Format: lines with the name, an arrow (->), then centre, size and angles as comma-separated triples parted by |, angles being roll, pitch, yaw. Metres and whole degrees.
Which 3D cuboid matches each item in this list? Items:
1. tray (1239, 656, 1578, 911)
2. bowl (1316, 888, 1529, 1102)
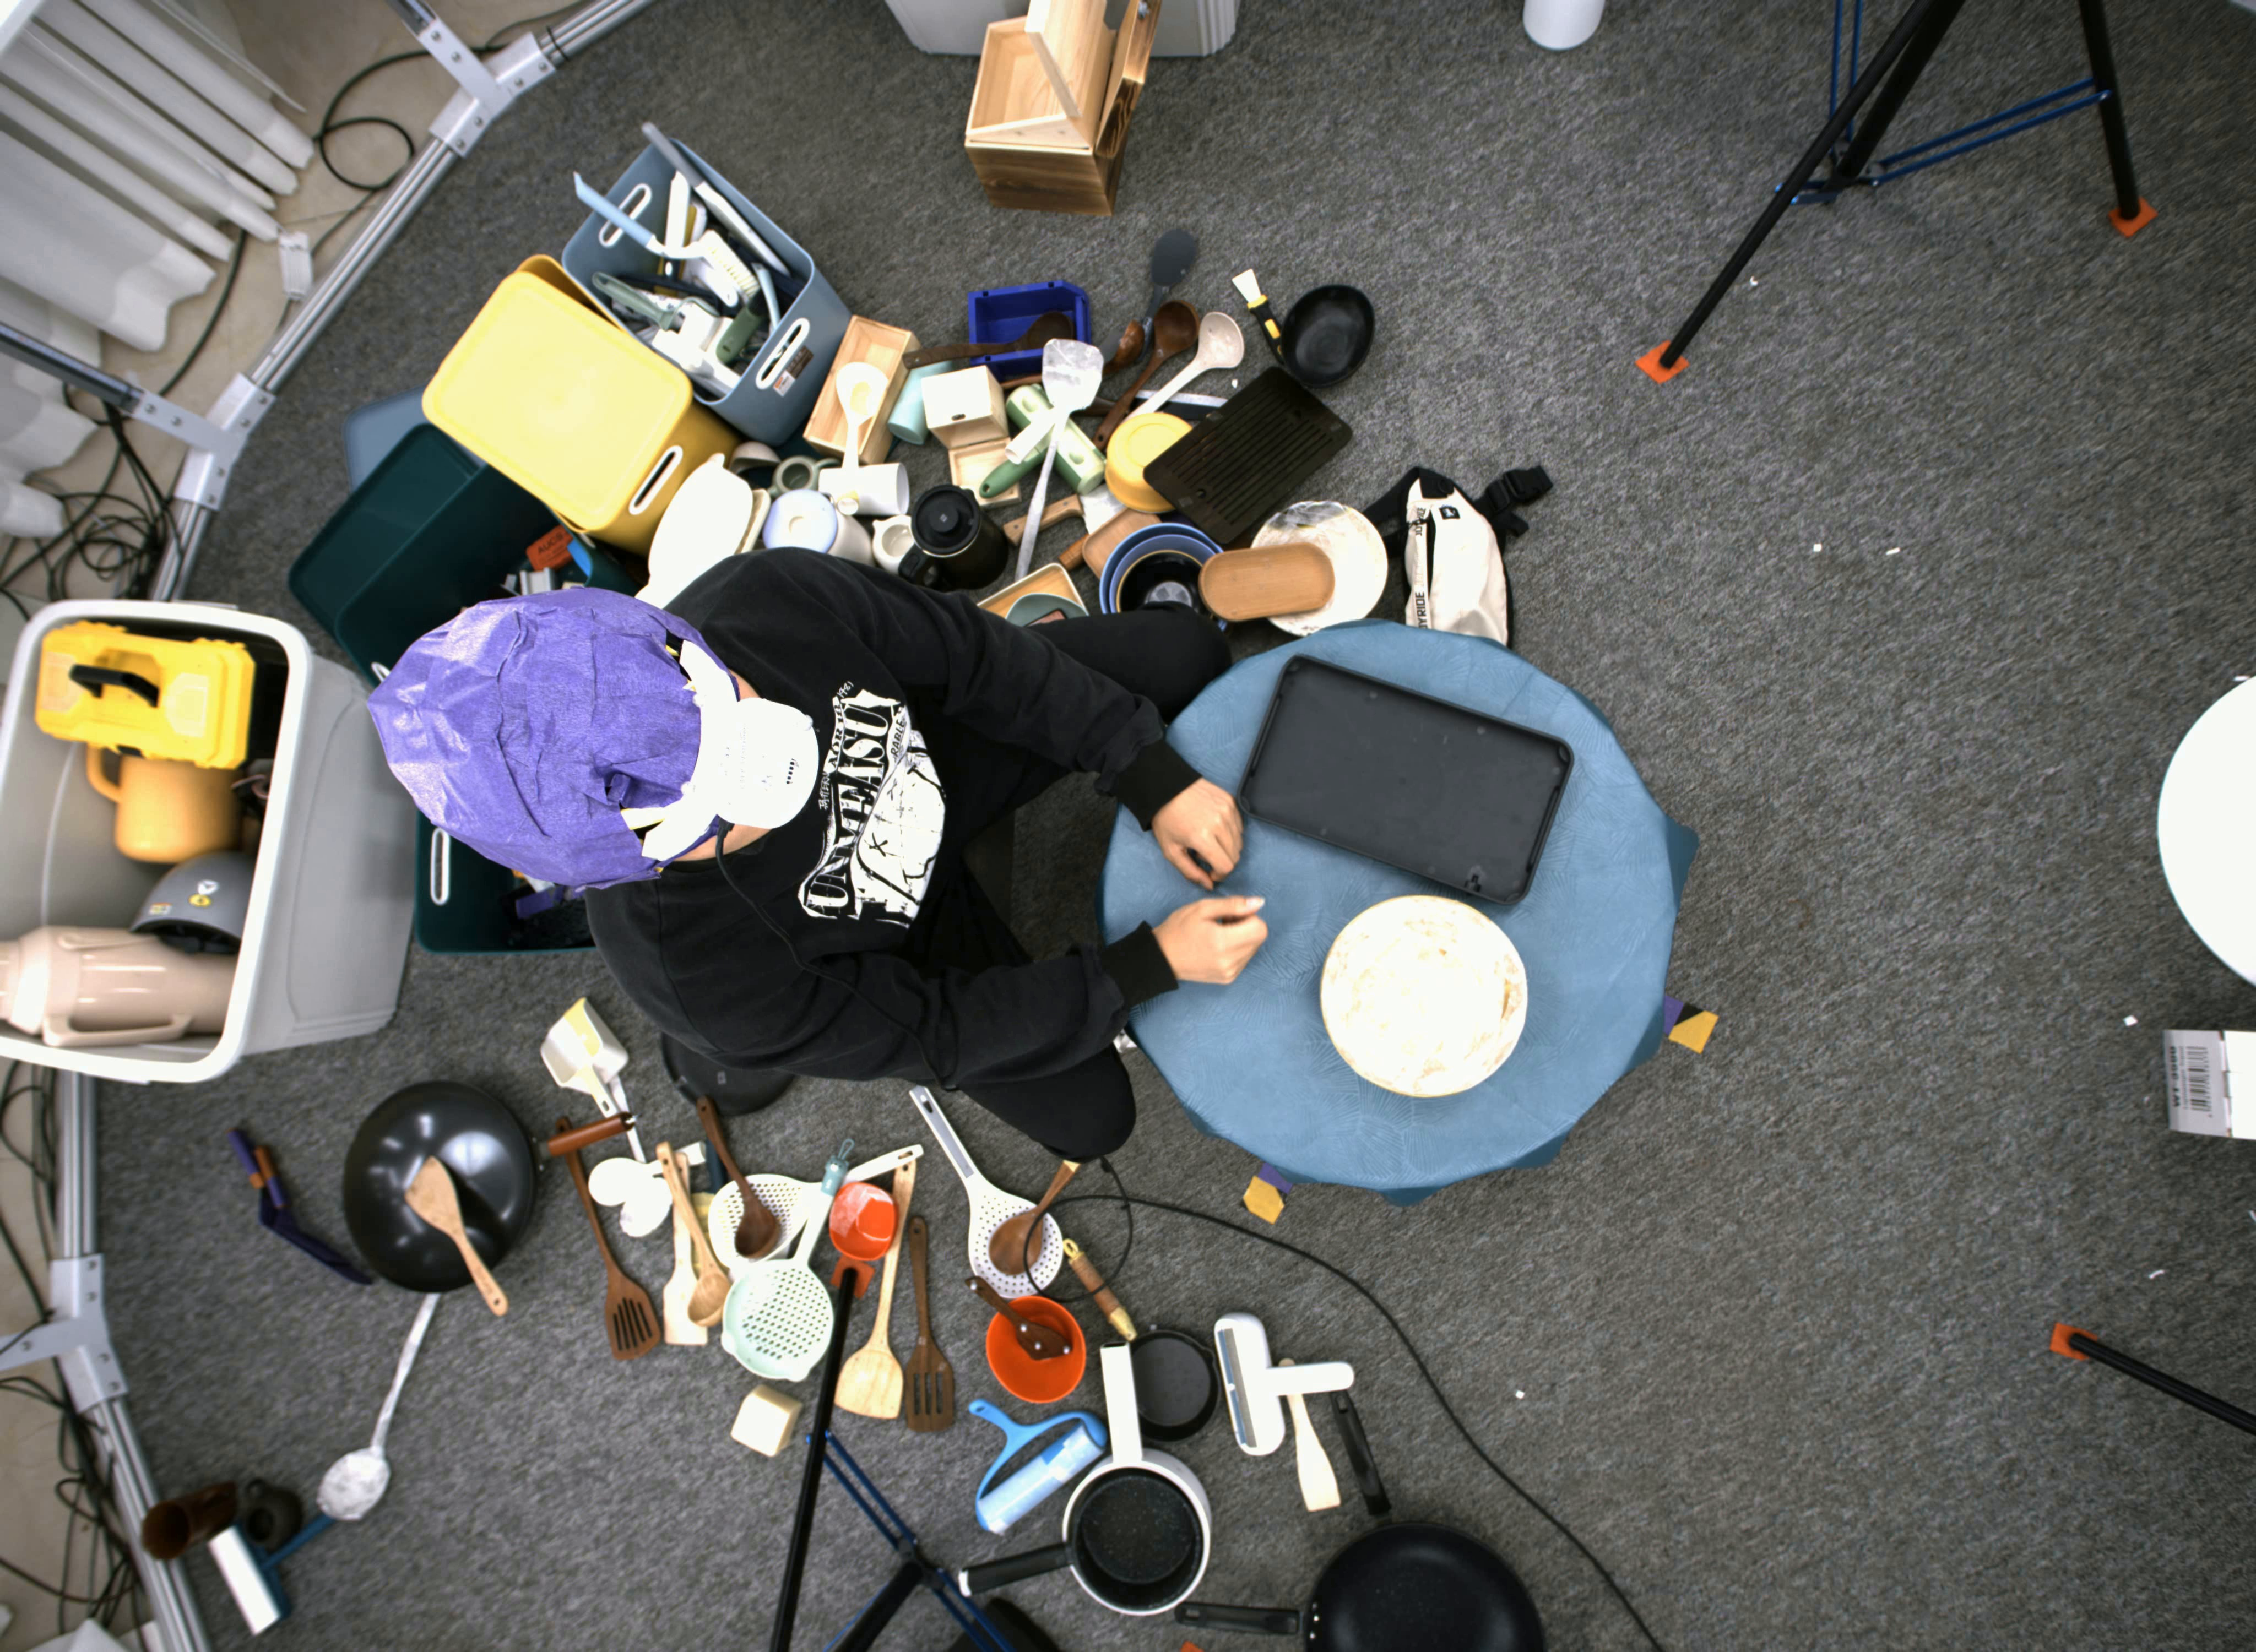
tray -> 0.292, -0.047, 1.447 | 0.318, 0.037, 0.184 | 21, 91, 13
bowl -> 0.297, 0.169, 1.407 | 0.215, 0.094, 0.214 | -1, 87, 11
